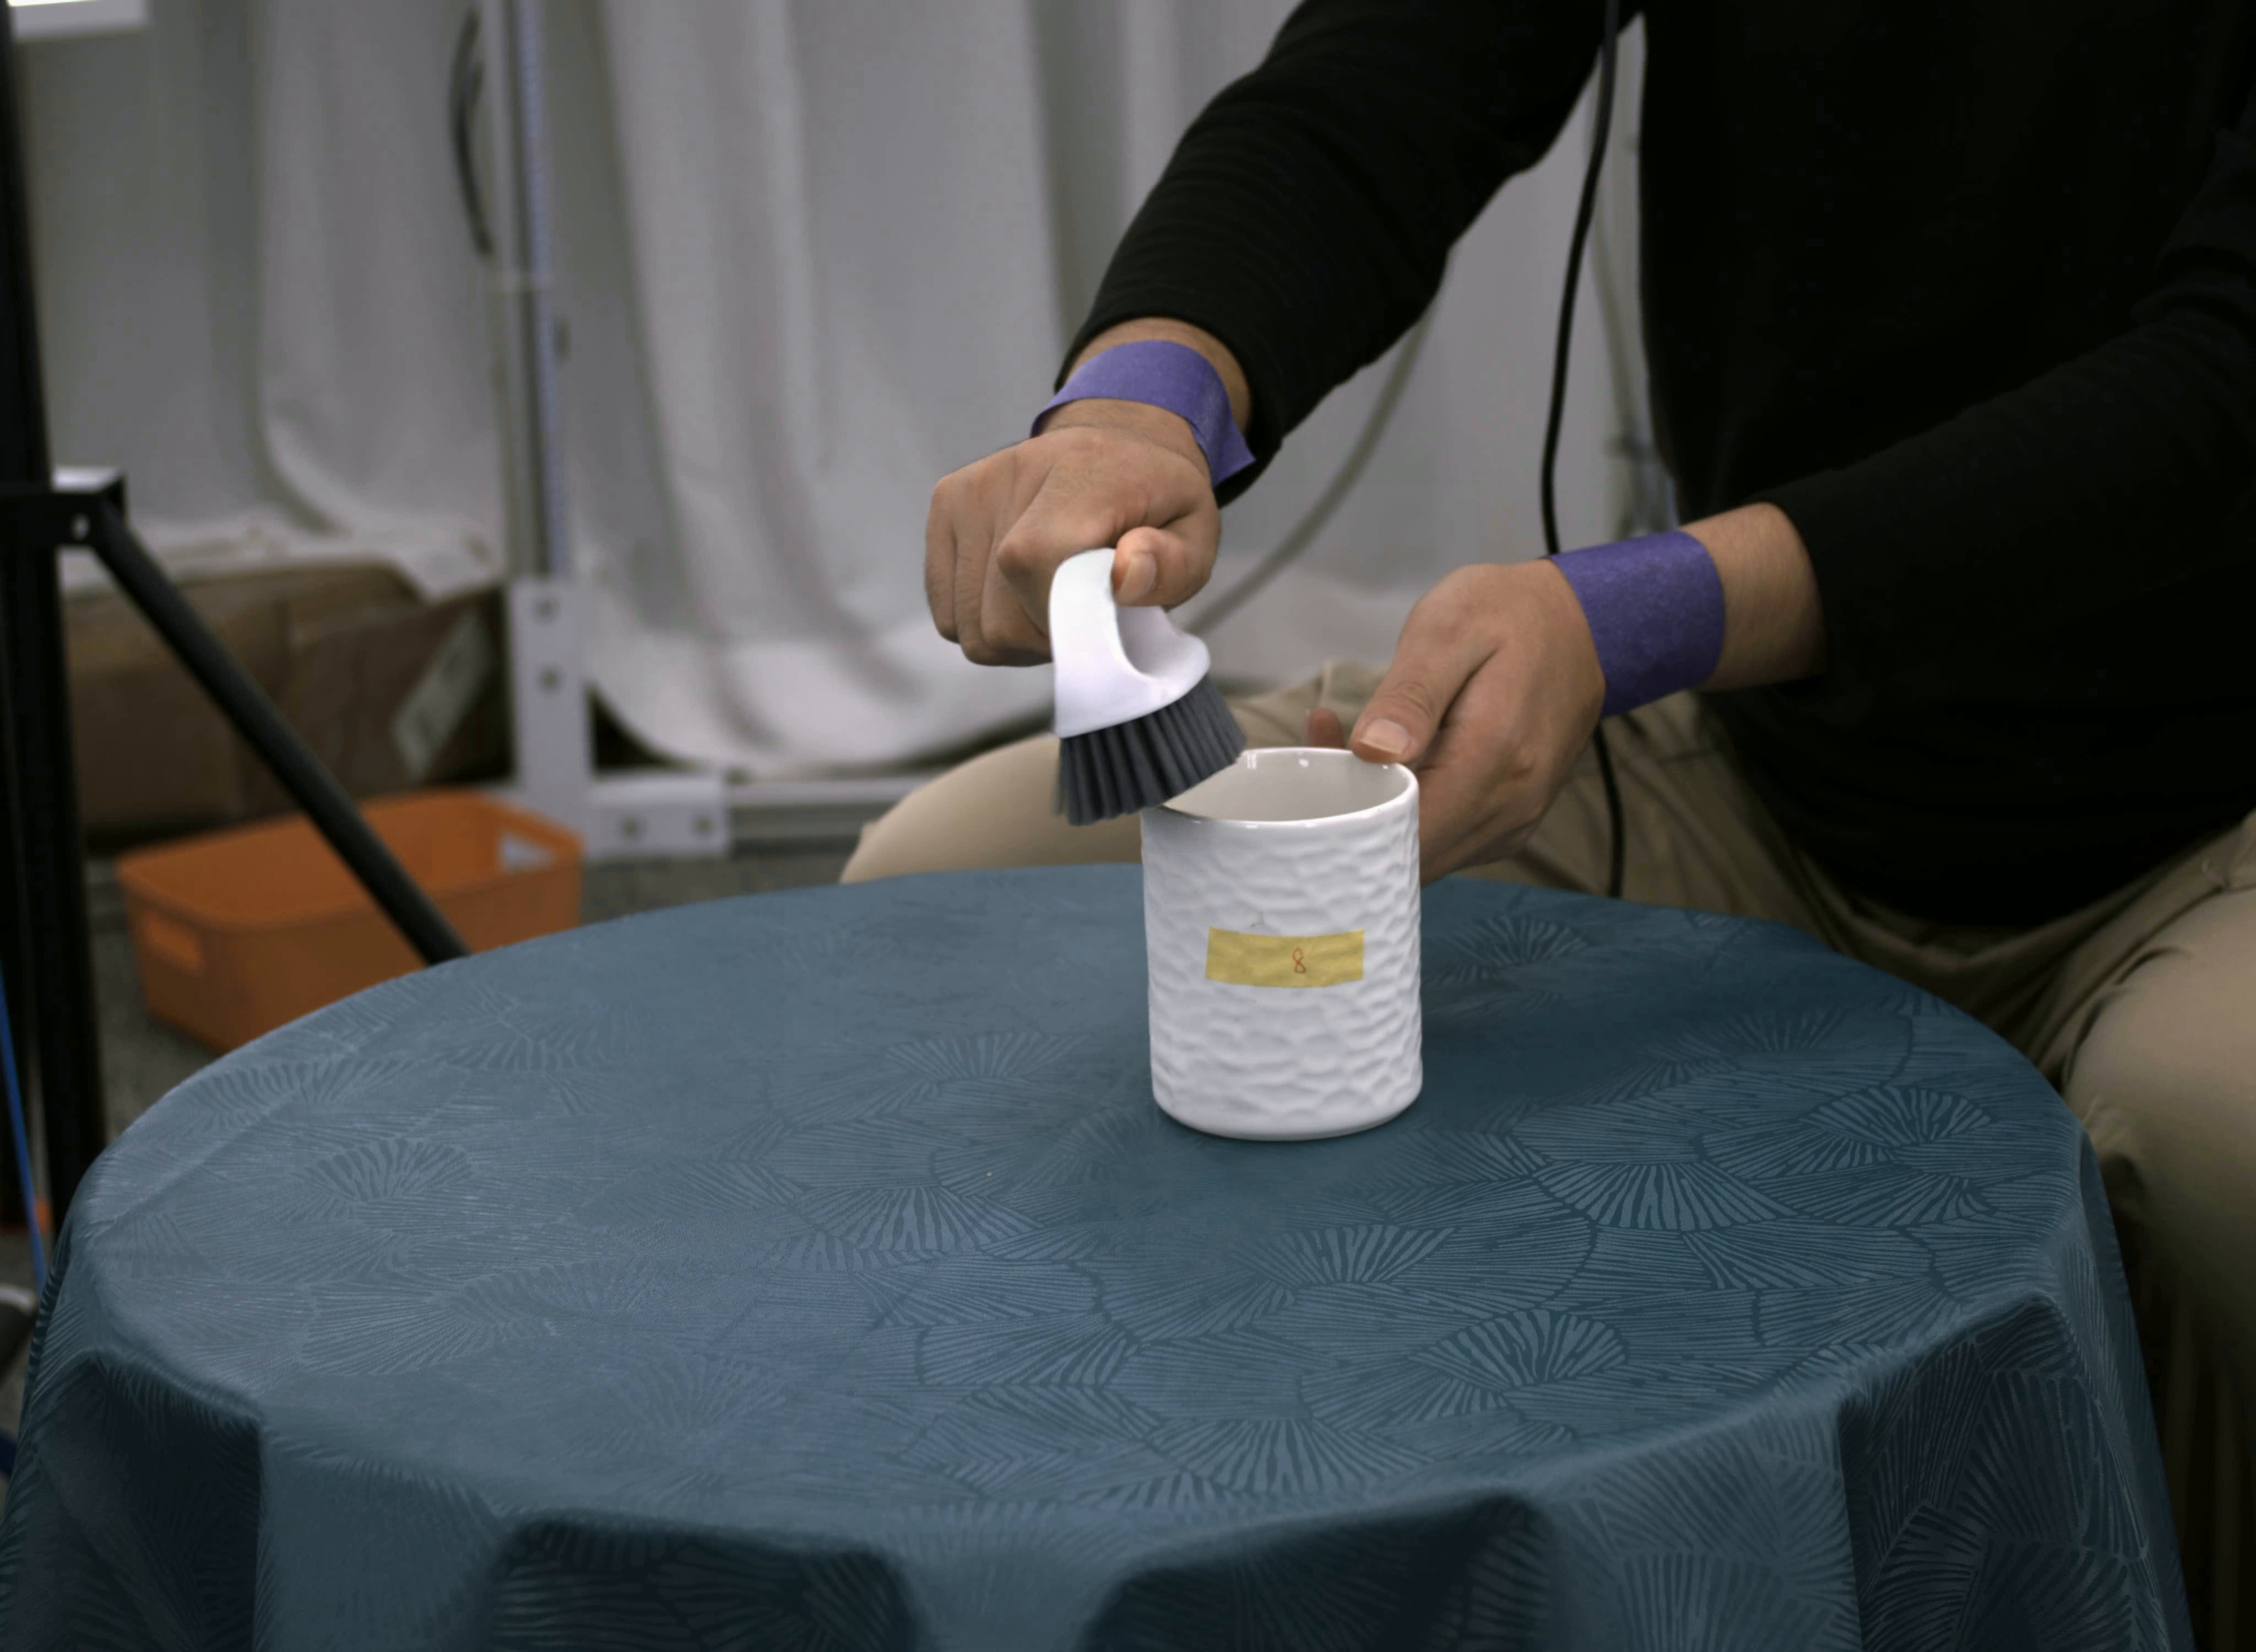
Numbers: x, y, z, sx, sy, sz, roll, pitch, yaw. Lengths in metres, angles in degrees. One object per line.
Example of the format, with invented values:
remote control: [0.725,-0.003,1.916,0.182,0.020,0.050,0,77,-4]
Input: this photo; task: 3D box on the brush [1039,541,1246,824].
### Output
brush: [-0.001,-0.047,1.581,0.050,0.072,0.098,-17,9,14]

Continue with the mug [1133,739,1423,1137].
mug: [0.053,0.030,1.632,0.086,0.102,0.117,3,17,23]
